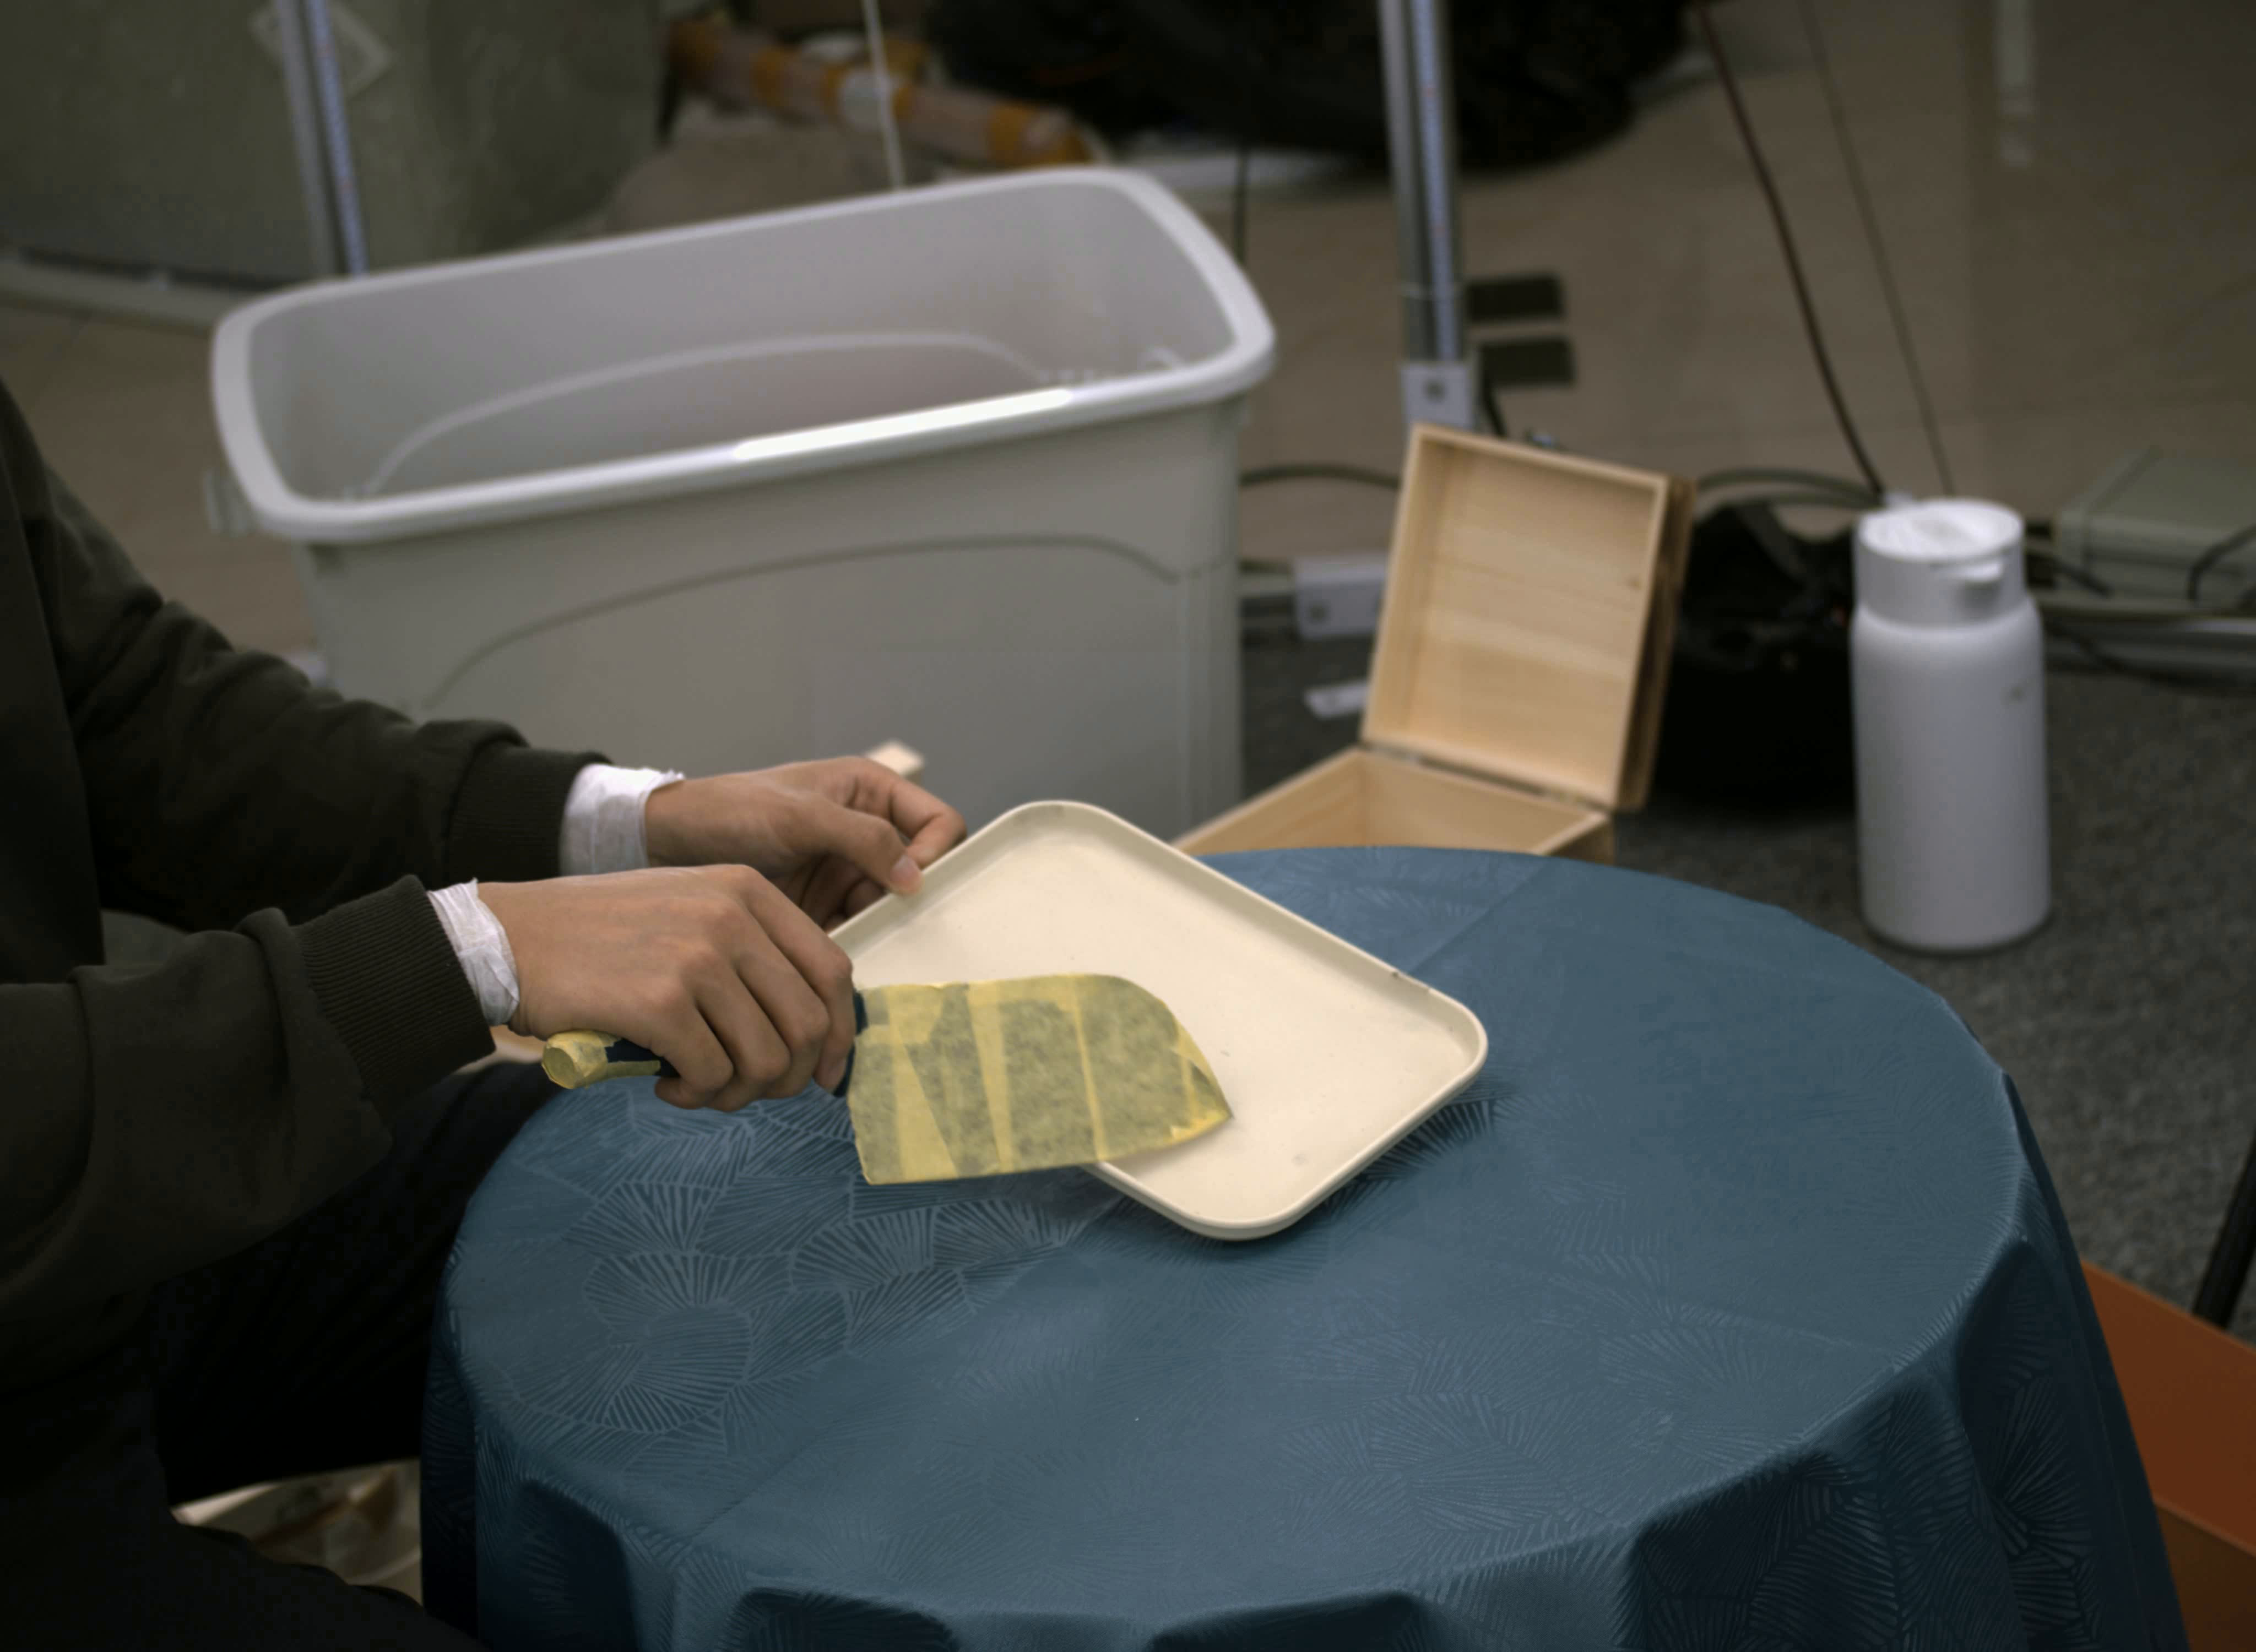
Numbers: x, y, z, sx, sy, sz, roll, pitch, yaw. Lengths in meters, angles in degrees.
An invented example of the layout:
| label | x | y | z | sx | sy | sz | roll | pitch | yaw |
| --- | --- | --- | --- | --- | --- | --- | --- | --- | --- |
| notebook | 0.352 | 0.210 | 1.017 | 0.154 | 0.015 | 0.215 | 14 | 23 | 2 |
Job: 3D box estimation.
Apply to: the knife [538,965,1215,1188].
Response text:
| label | x | y | z | sx | sy | sz | roll | pitch | yaw |
| --- | --- | --- | --- | --- | --- | --- | --- | --- | --- |
| knife | -0.085 | 0.092 | 2.075 | 0.289 | 0.080 | 0.027 | -1 | -13 | -35 |

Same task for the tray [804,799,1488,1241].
| label | x | y | z | sx | sy | sz | roll | pitch | yaw |
| --- | --- | --- | --- | --- | --- | --- | --- | --- | --- |
| tray | 0.006 | 0.074 | 2.195 | 0.237 | 0.018 | 0.169 | 29 | 46 | 29 |
